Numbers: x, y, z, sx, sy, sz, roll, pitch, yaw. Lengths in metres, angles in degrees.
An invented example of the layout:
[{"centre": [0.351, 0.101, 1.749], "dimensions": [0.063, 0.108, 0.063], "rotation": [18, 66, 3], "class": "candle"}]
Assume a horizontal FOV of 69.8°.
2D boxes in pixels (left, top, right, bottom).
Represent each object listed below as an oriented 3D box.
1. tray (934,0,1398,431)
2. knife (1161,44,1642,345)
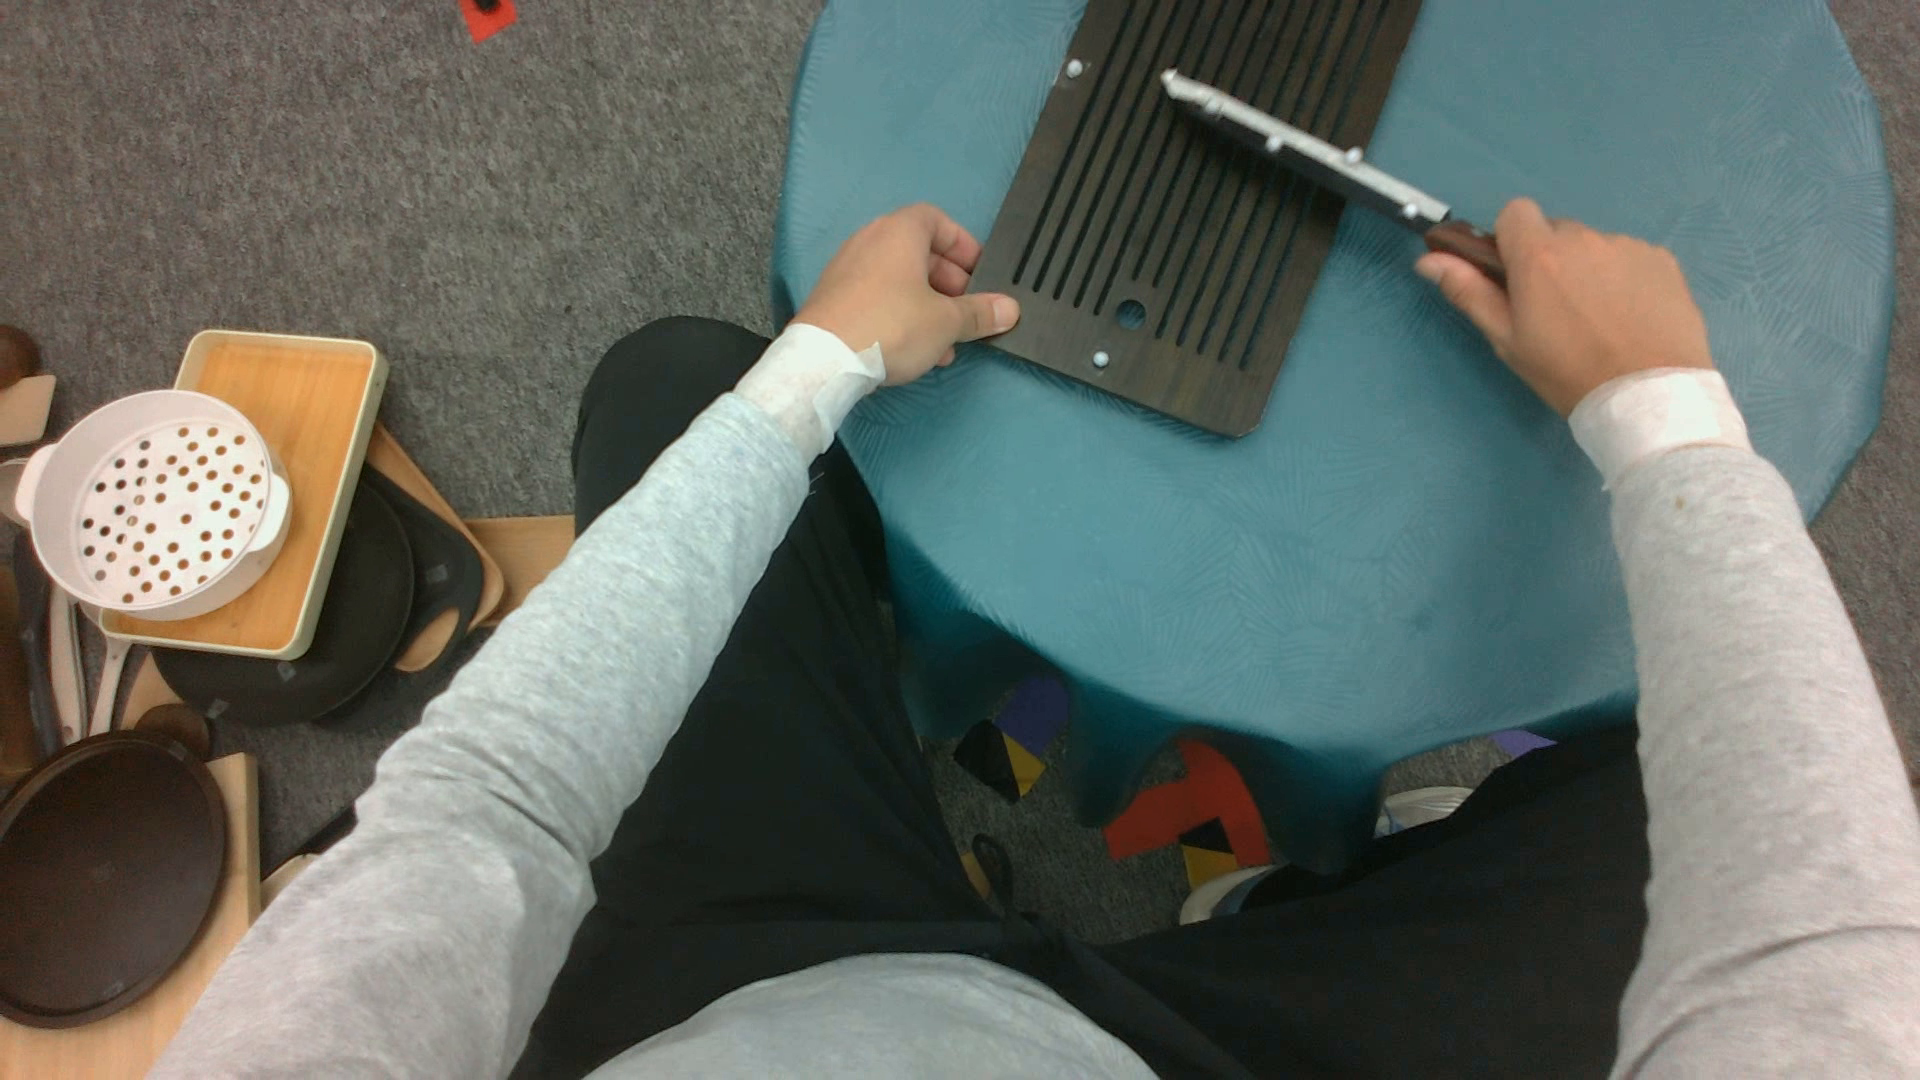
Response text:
[{"centre": [0.118, -0.221, 0.751], "dimensions": [0.170, 0.018, 0.306], "rotation": [22, 80, 5], "class": "tray"}, {"centre": [0.223, -0.186, 0.718], "dimensions": [0.289, 0.020, 0.050], "rotation": [35, 42, 11], "class": "knife"}]
